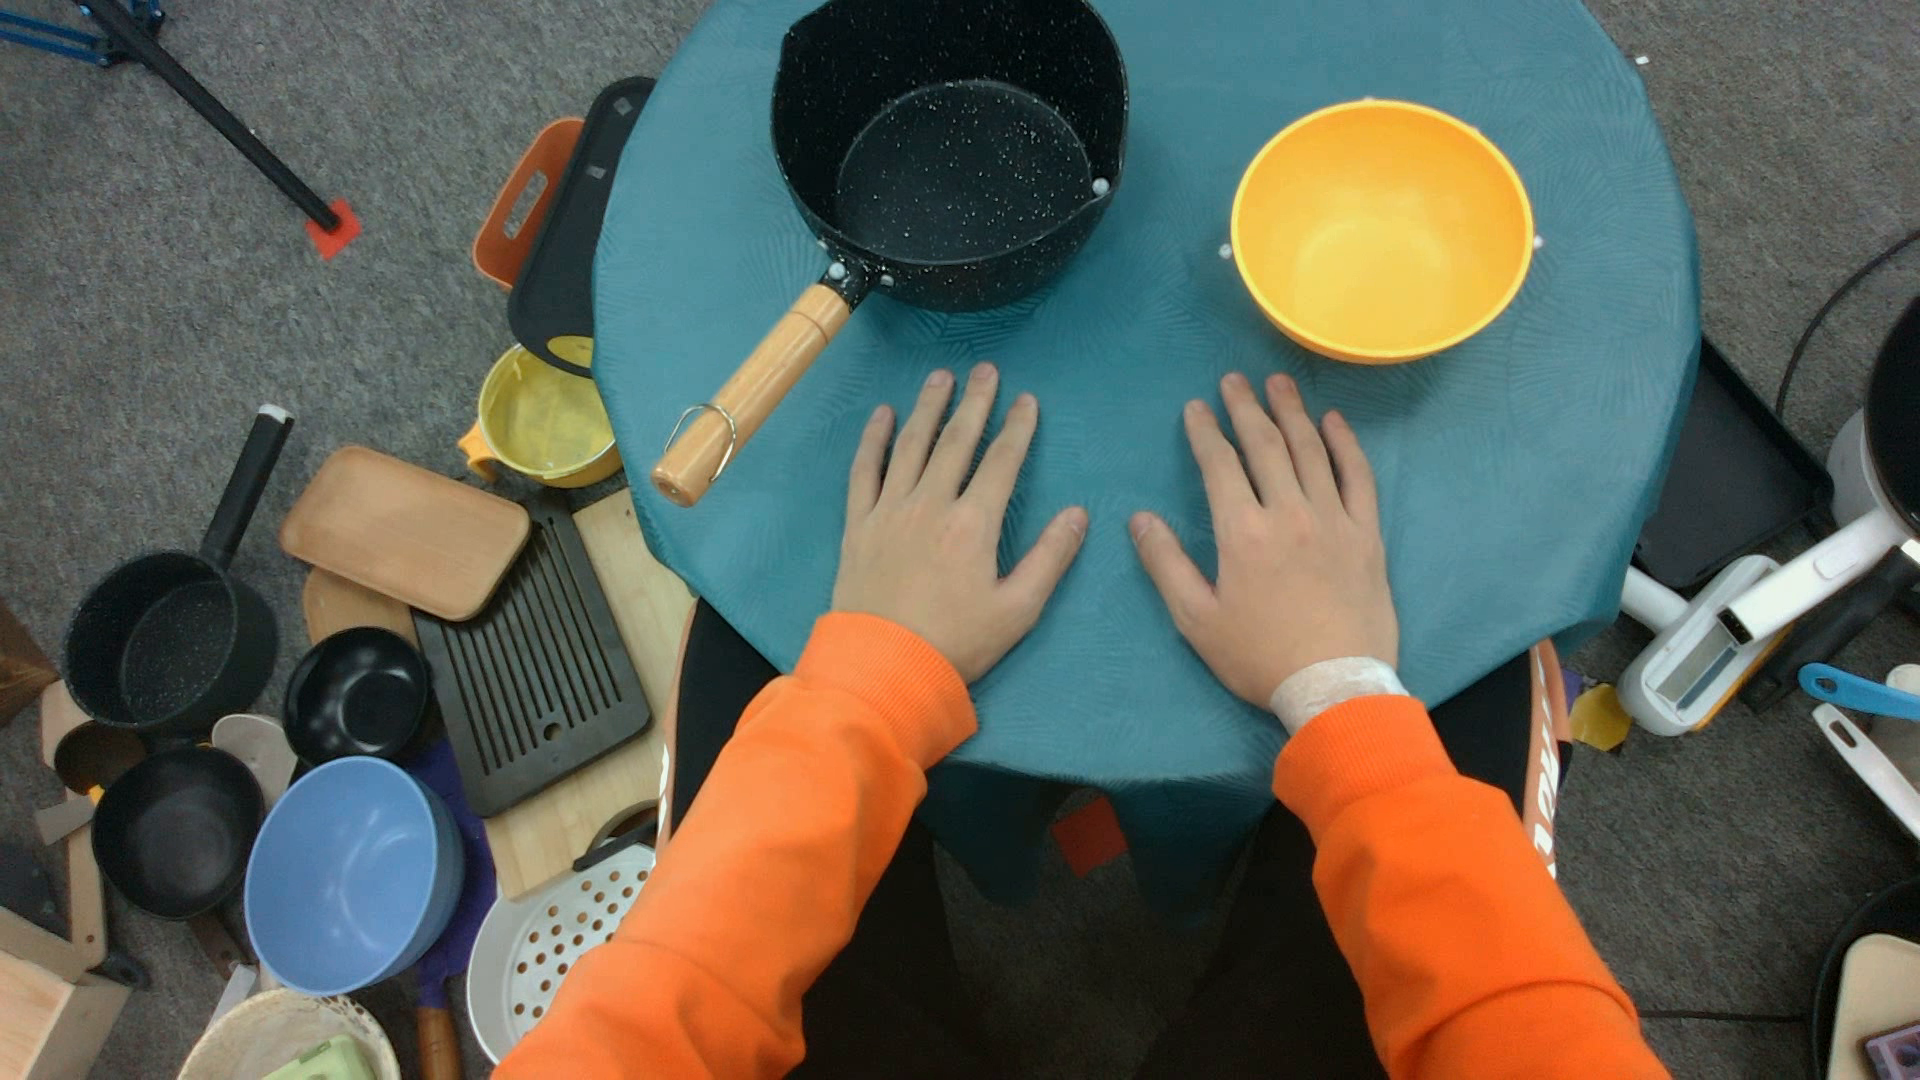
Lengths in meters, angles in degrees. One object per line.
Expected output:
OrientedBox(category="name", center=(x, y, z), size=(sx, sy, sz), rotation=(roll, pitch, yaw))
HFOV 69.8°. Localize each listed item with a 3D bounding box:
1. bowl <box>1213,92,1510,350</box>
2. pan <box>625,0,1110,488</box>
OrientedBox(category="bowl", center=(0.203, -0.155, 0.715), size=(0.145, 0.060, 0.145), rotation=(-2, 72, 6))
OrientedBox(category="pan", center=(-0.053, -0.154, 0.712), size=(0.207, 0.108, 0.343), rotation=(27, 75, 12))
